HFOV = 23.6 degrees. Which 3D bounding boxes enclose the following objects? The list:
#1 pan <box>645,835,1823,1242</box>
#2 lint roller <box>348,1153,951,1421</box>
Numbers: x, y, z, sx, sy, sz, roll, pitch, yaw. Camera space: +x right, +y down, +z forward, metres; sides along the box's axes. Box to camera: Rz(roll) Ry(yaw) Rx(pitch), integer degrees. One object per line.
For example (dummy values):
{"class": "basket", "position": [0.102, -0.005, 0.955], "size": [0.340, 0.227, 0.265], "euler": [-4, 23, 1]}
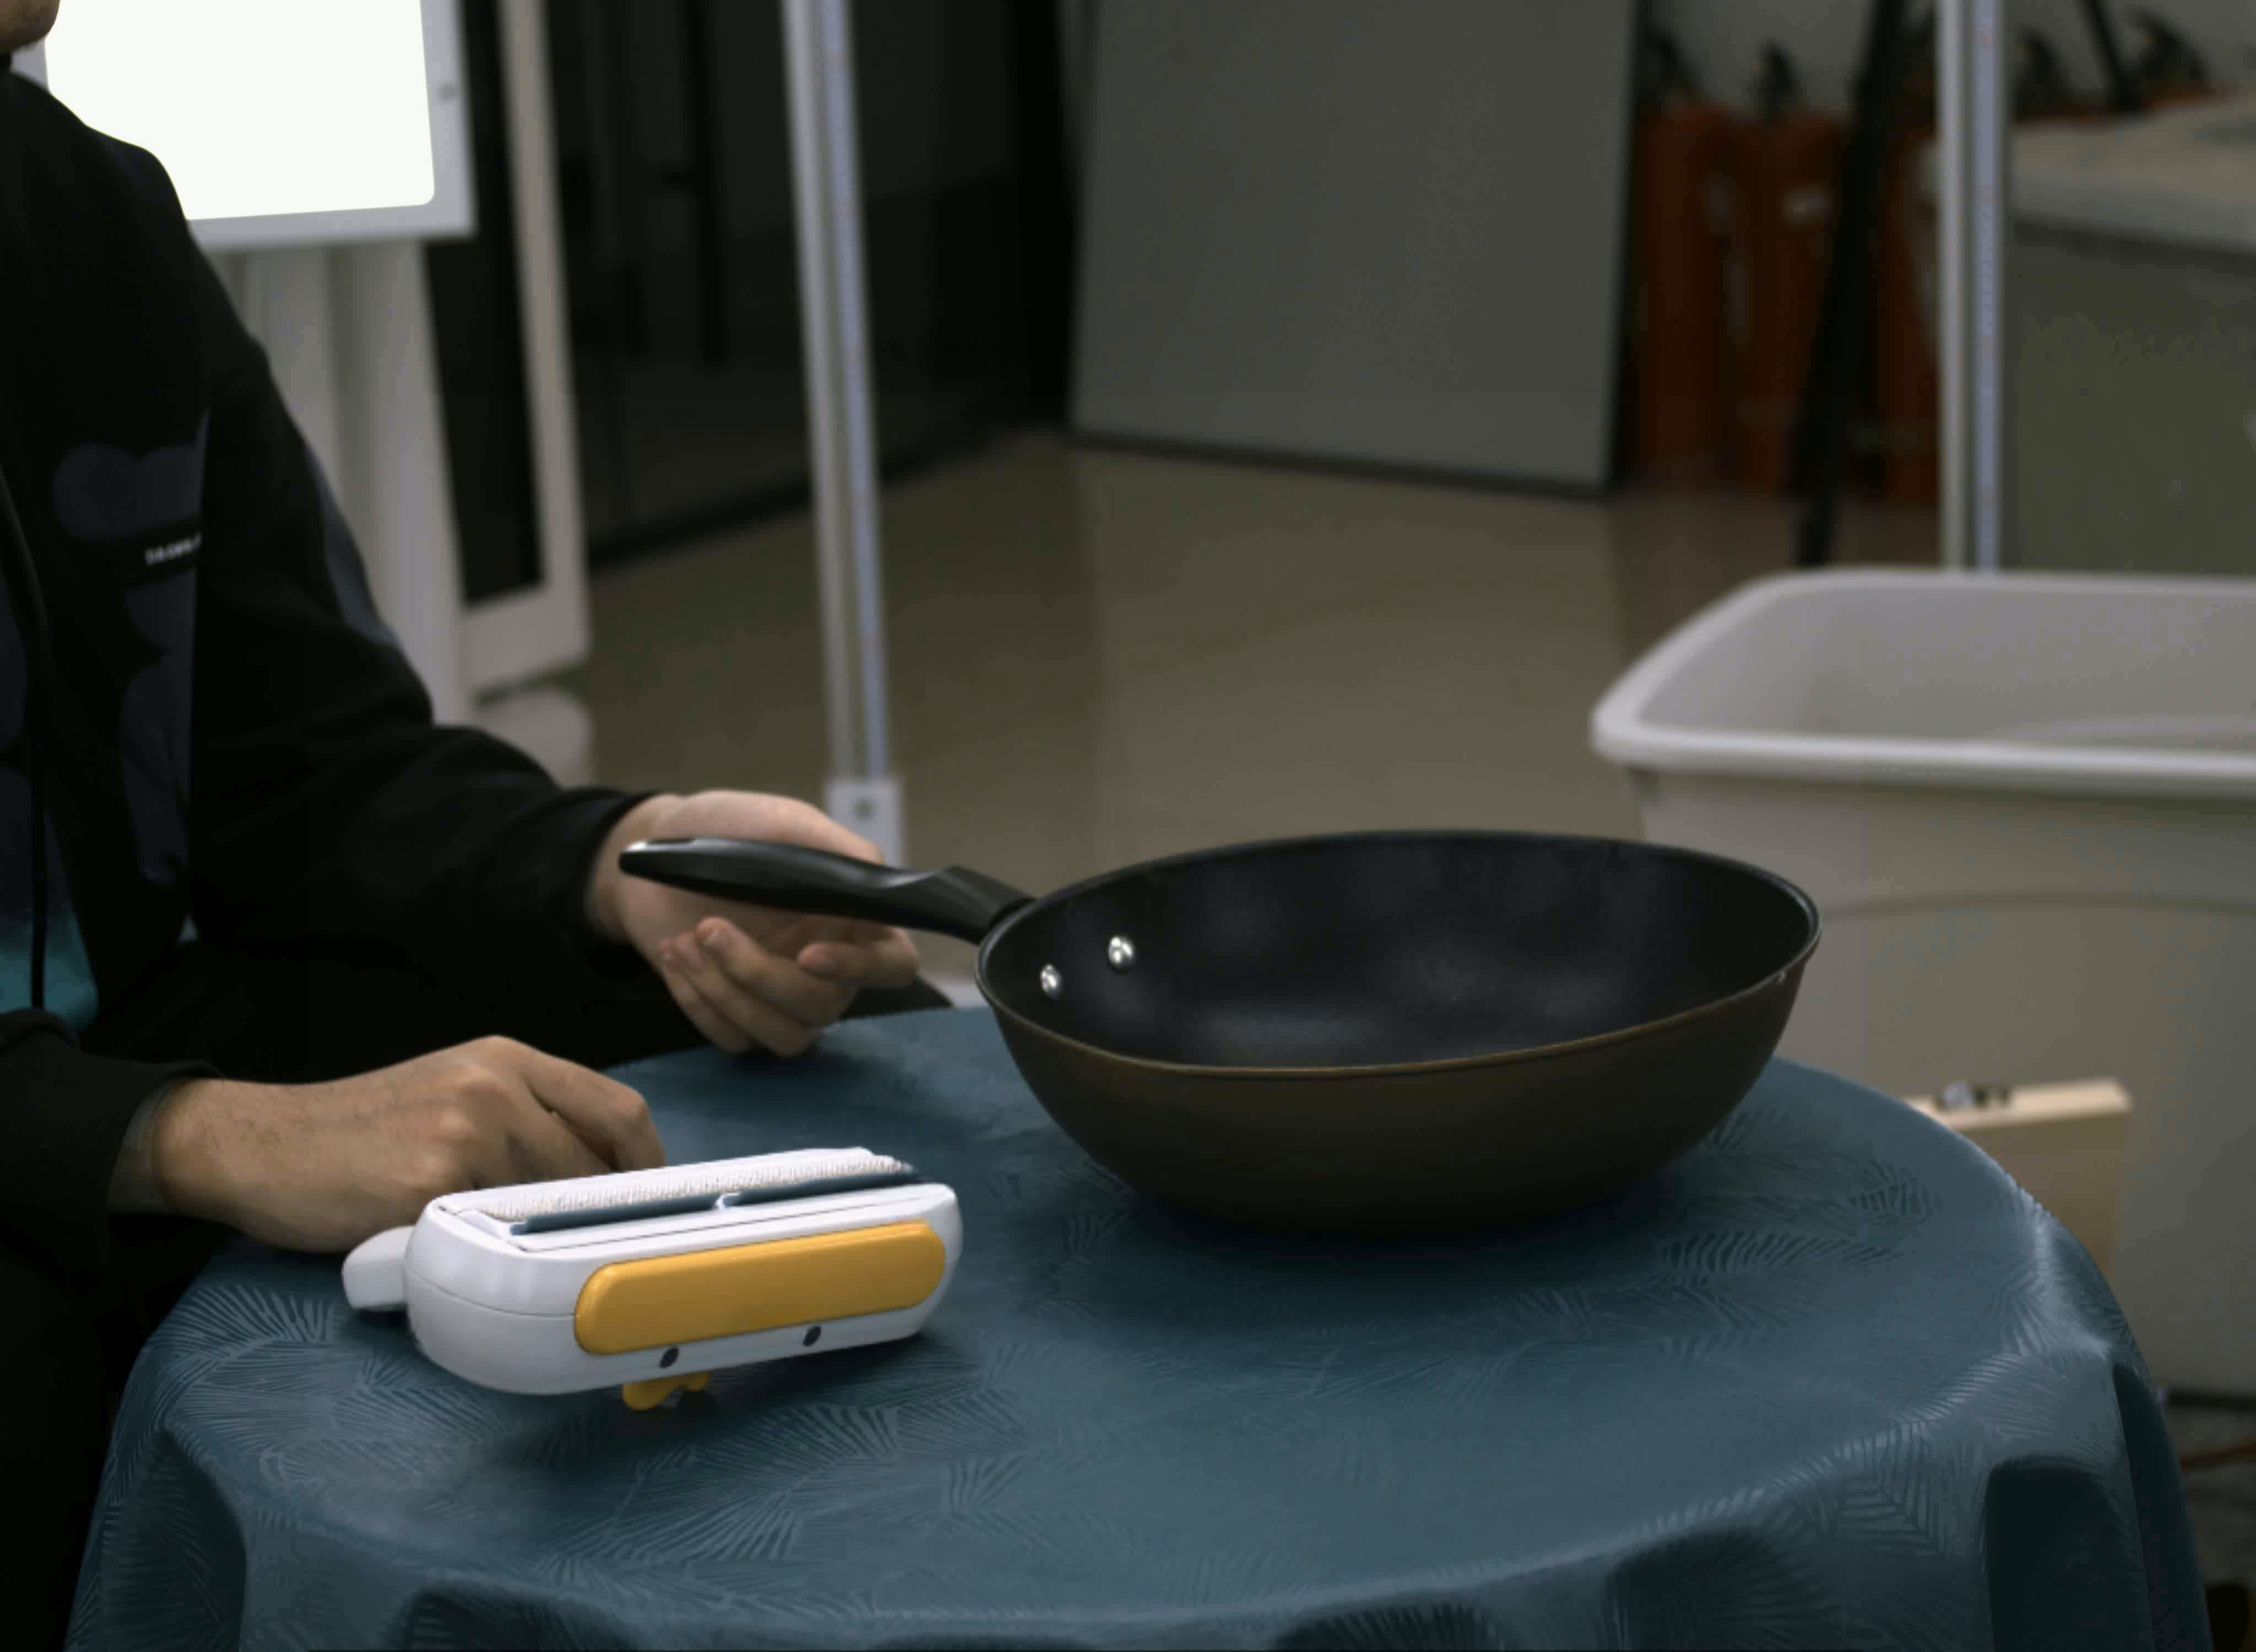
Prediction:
{"class": "pan", "position": [0.016, 0.066, 1.816], "size": [0.466, 0.088, 0.283], "euler": [5, 16, 36]}
{"class": "lint roller", "position": [-0.173, 0.131, 1.638], "size": [0.188, 0.075, 0.194], "euler": [-9, 12, -41]}
